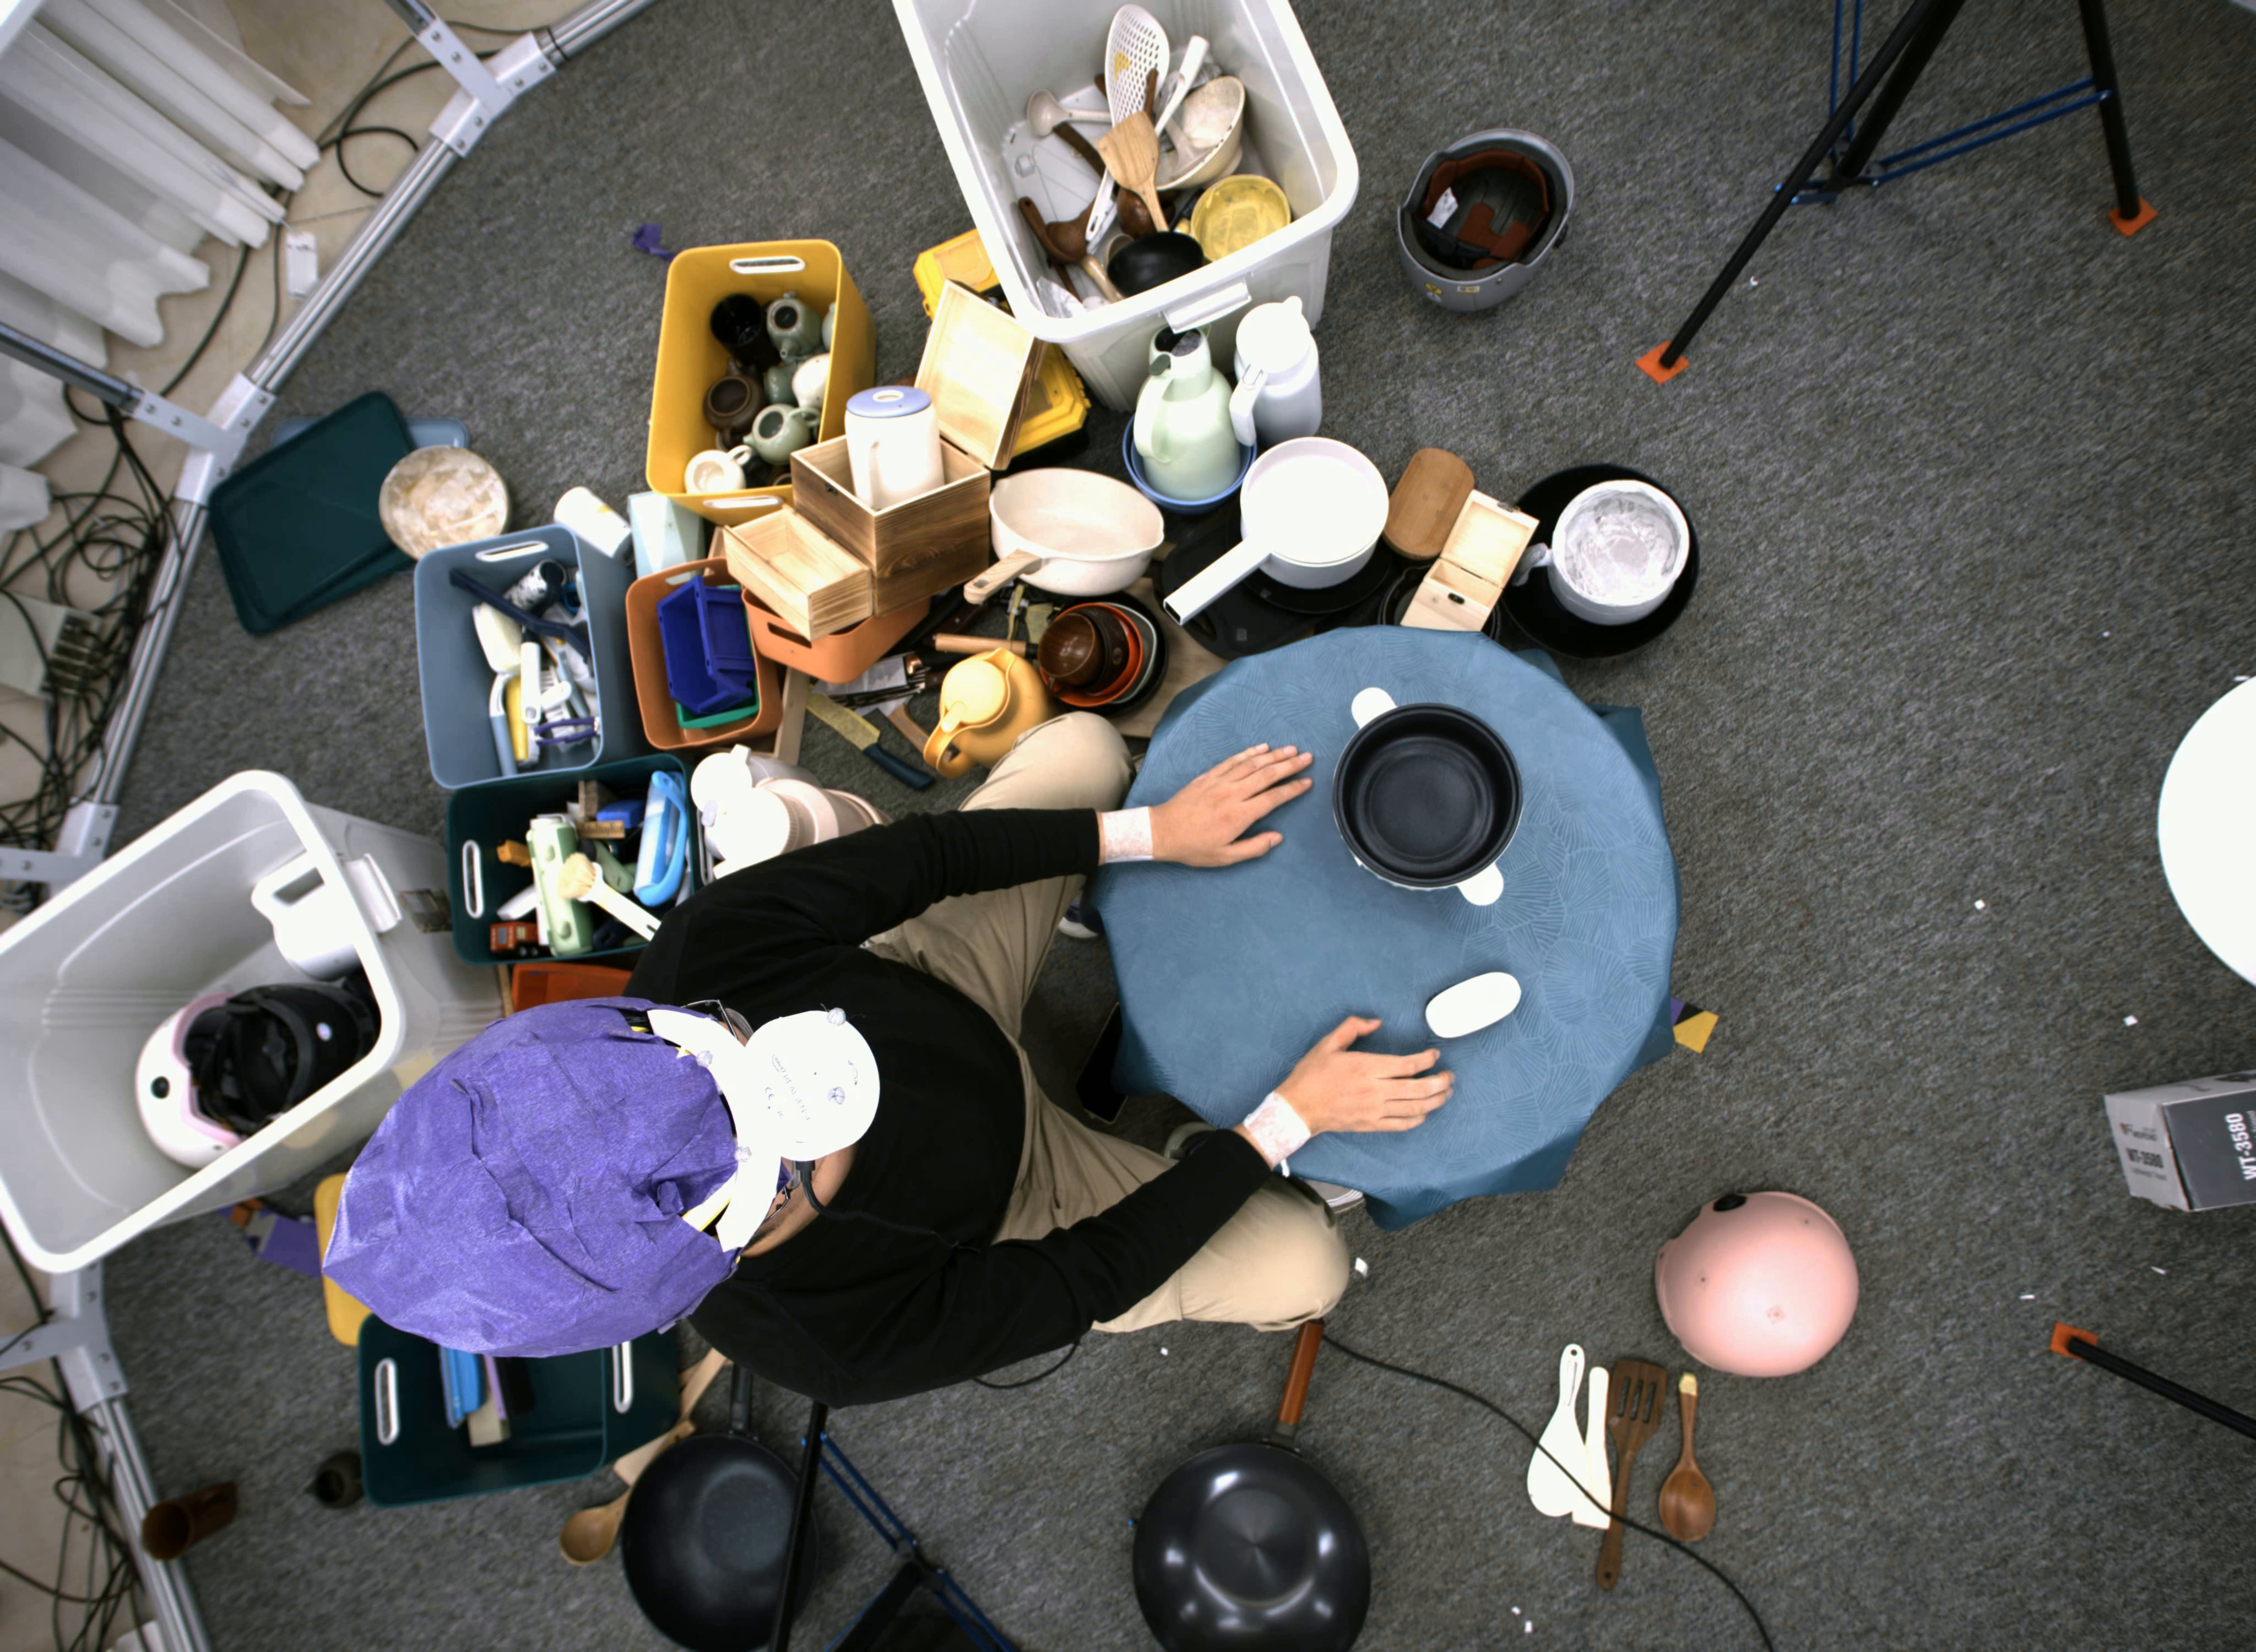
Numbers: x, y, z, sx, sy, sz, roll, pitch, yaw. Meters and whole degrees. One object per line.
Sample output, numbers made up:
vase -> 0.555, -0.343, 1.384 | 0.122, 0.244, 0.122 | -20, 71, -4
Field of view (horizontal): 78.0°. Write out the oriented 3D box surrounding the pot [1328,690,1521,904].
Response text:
pot -> 0.301, -0.029, 1.390 | 0.192, 0.142, 0.239 | -32, 82, 9

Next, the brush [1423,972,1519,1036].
brush -> 0.349, 0.180, 1.402 | 0.100, 0.072, 0.050 | -23, 82, 8
